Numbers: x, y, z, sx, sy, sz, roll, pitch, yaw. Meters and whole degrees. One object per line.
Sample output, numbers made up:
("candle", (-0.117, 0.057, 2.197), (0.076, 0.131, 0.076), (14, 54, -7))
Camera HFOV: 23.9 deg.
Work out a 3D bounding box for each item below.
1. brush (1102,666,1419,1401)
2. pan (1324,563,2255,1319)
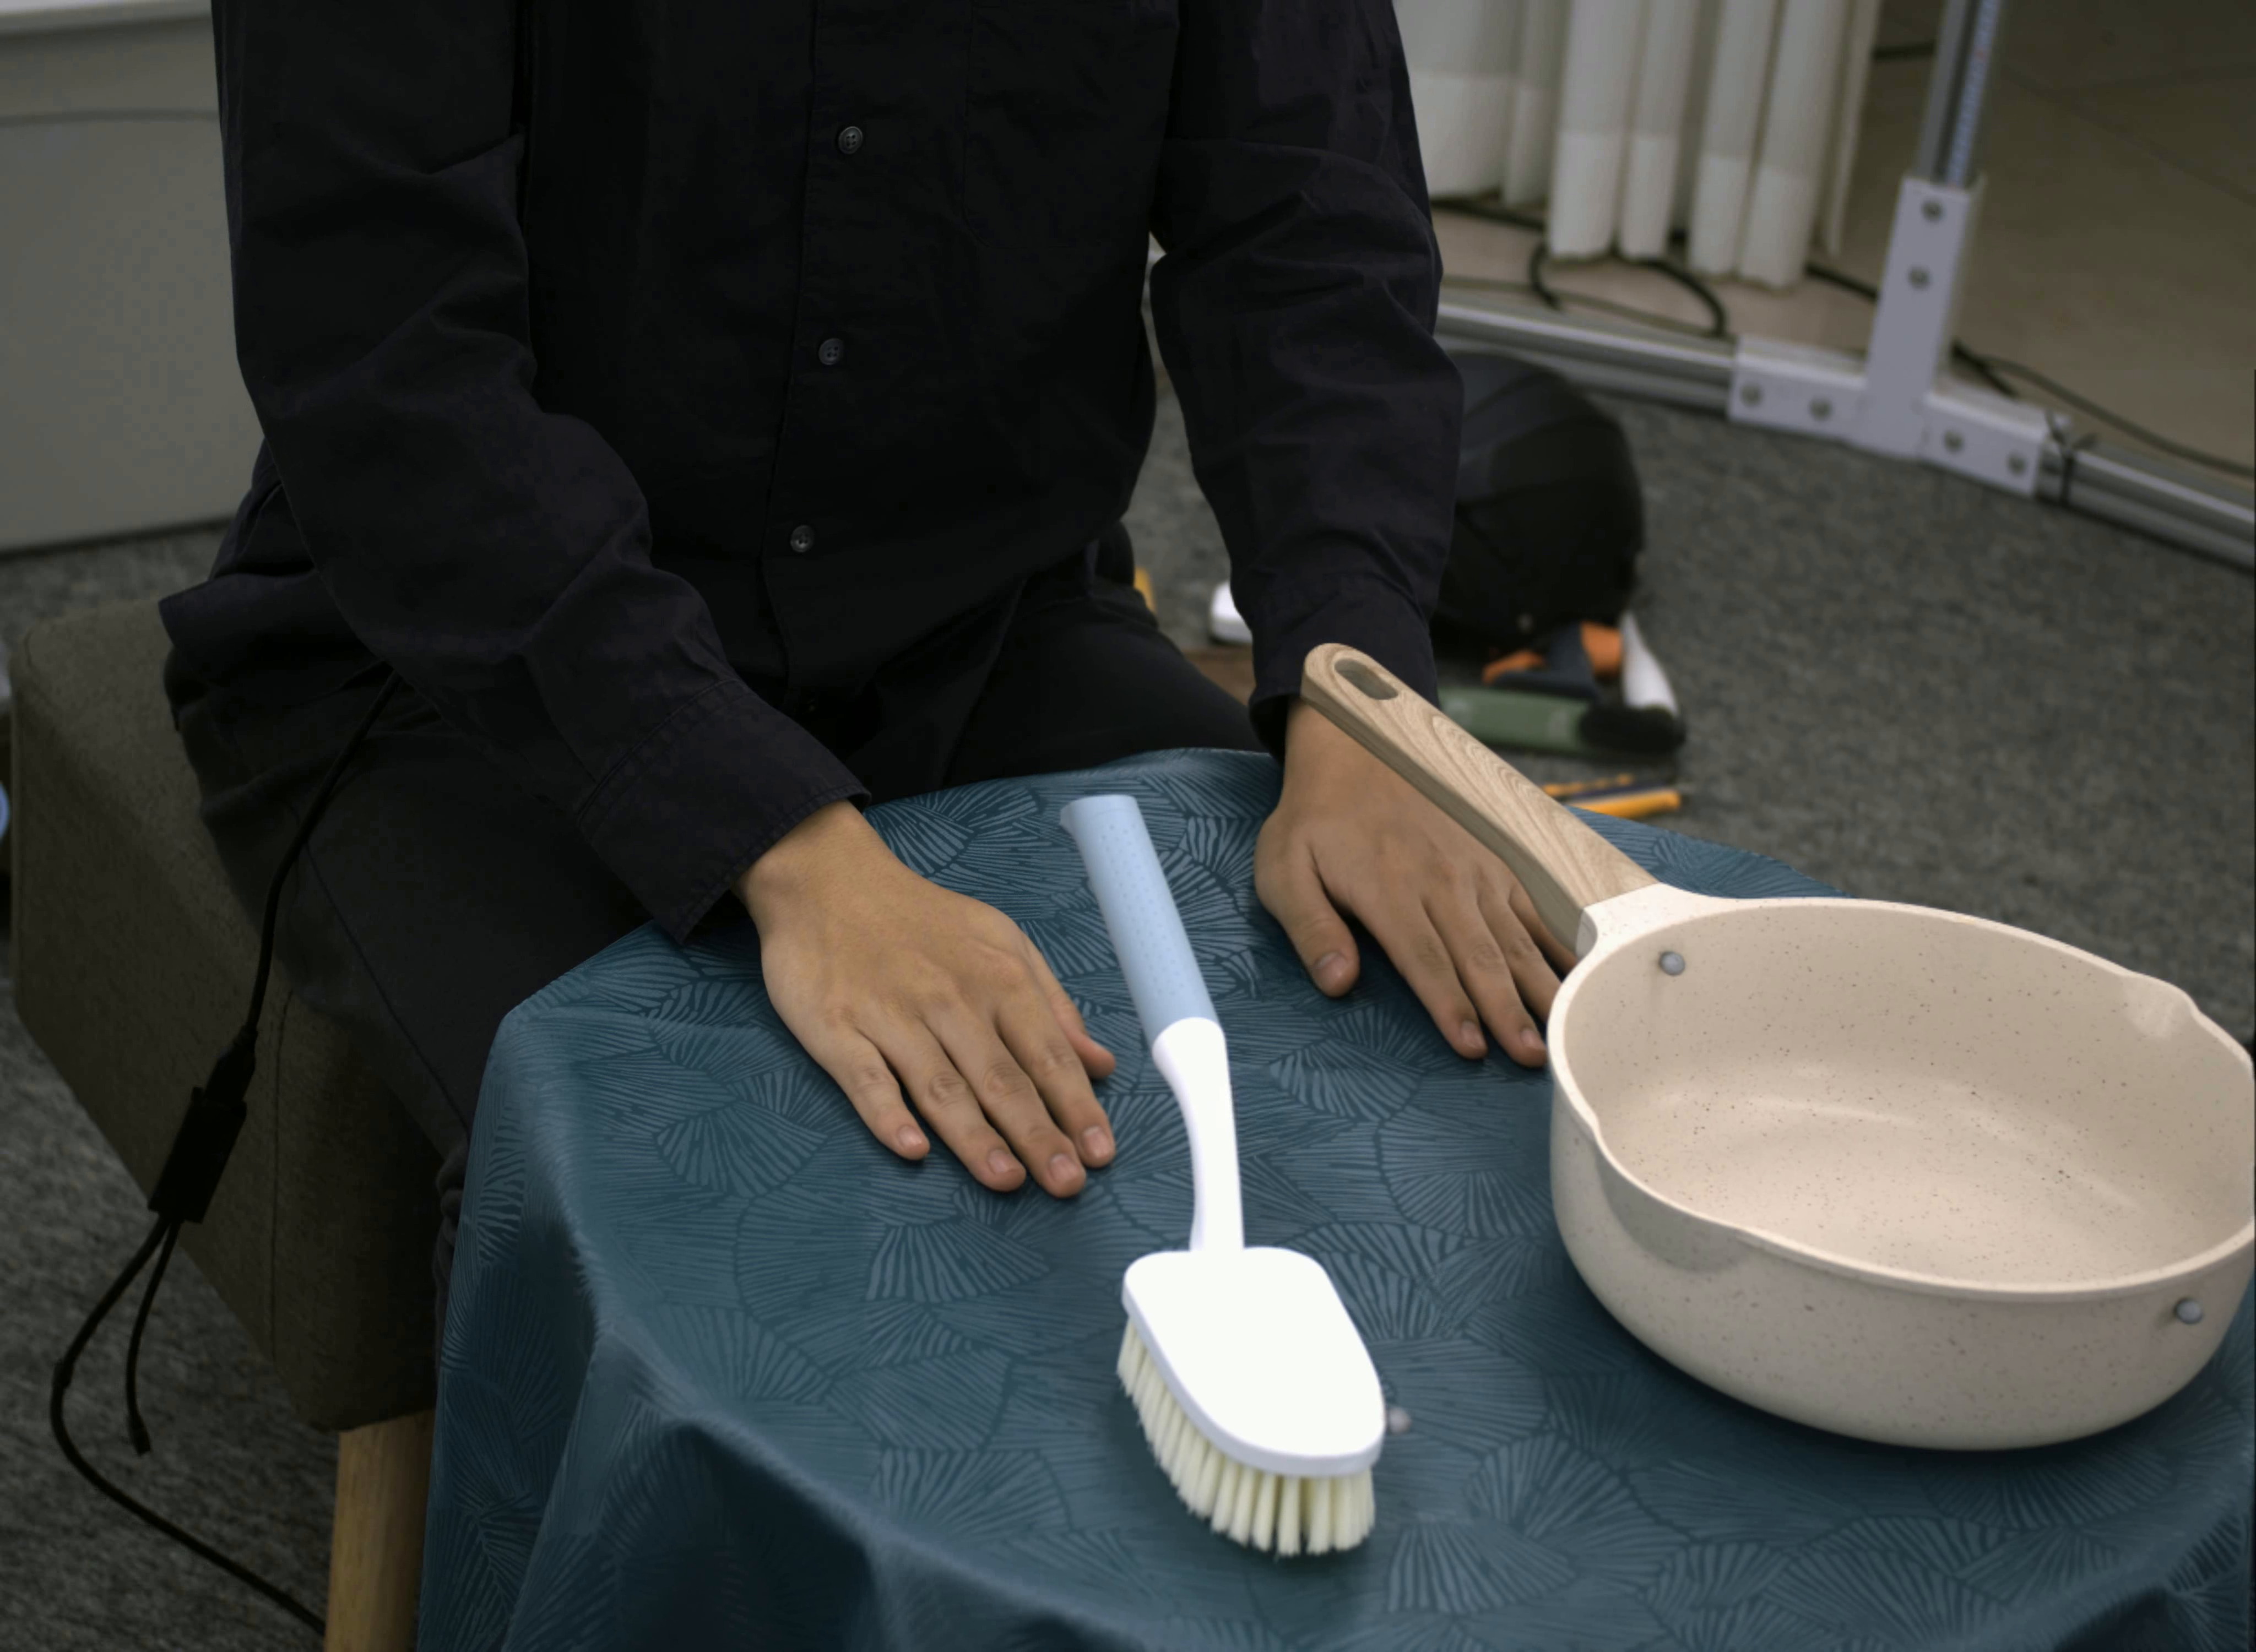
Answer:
("brush", (0.036, 0.076, 1.758), (0.082, 0.084, 0.328), (34, 24, -36))
("pan", (0.218, 0.036, 1.859), (0.262, 0.101, 0.438), (-17, 35, -37))
